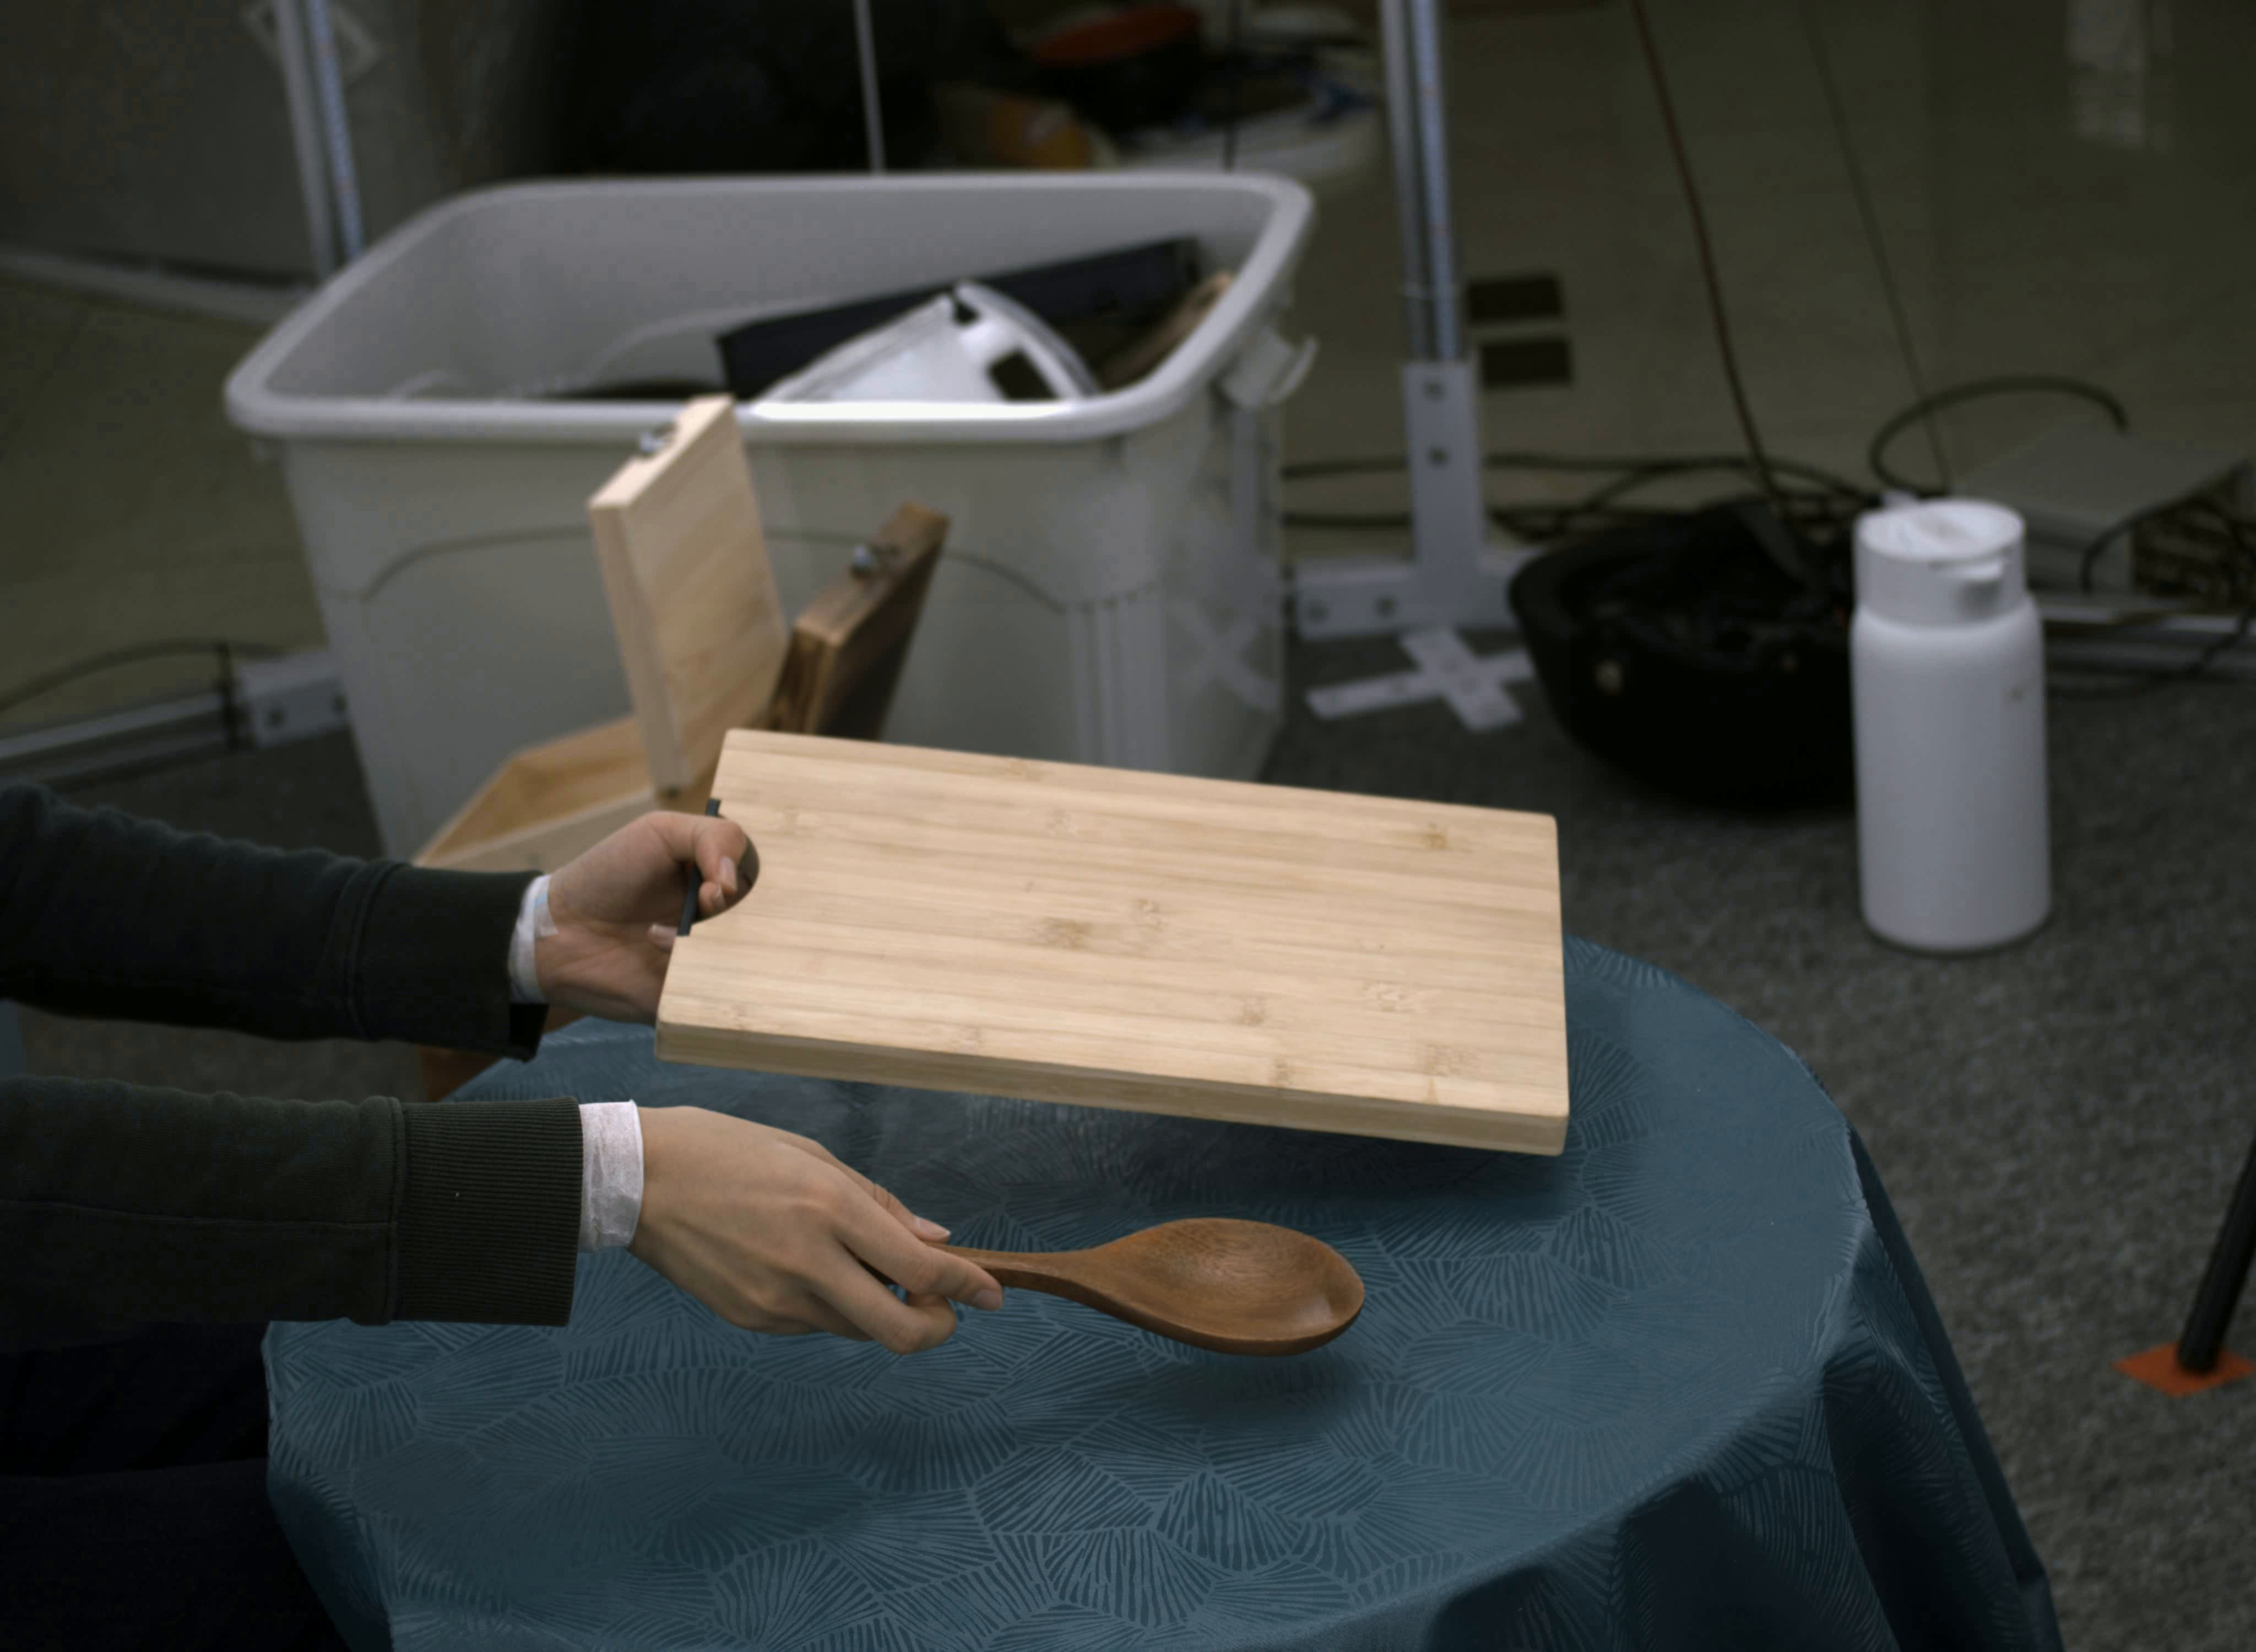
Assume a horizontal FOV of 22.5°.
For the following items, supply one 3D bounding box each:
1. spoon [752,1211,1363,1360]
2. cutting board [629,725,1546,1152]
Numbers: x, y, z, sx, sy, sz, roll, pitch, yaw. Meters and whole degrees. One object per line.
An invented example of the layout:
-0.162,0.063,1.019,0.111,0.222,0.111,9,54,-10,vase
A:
-0.025,0.157,1.993,0.215,0.017,0.074,6,34,-5,spoon
-0.008,0.041,2.198,0.348,0.024,0.247,6,28,-1,cutting board
